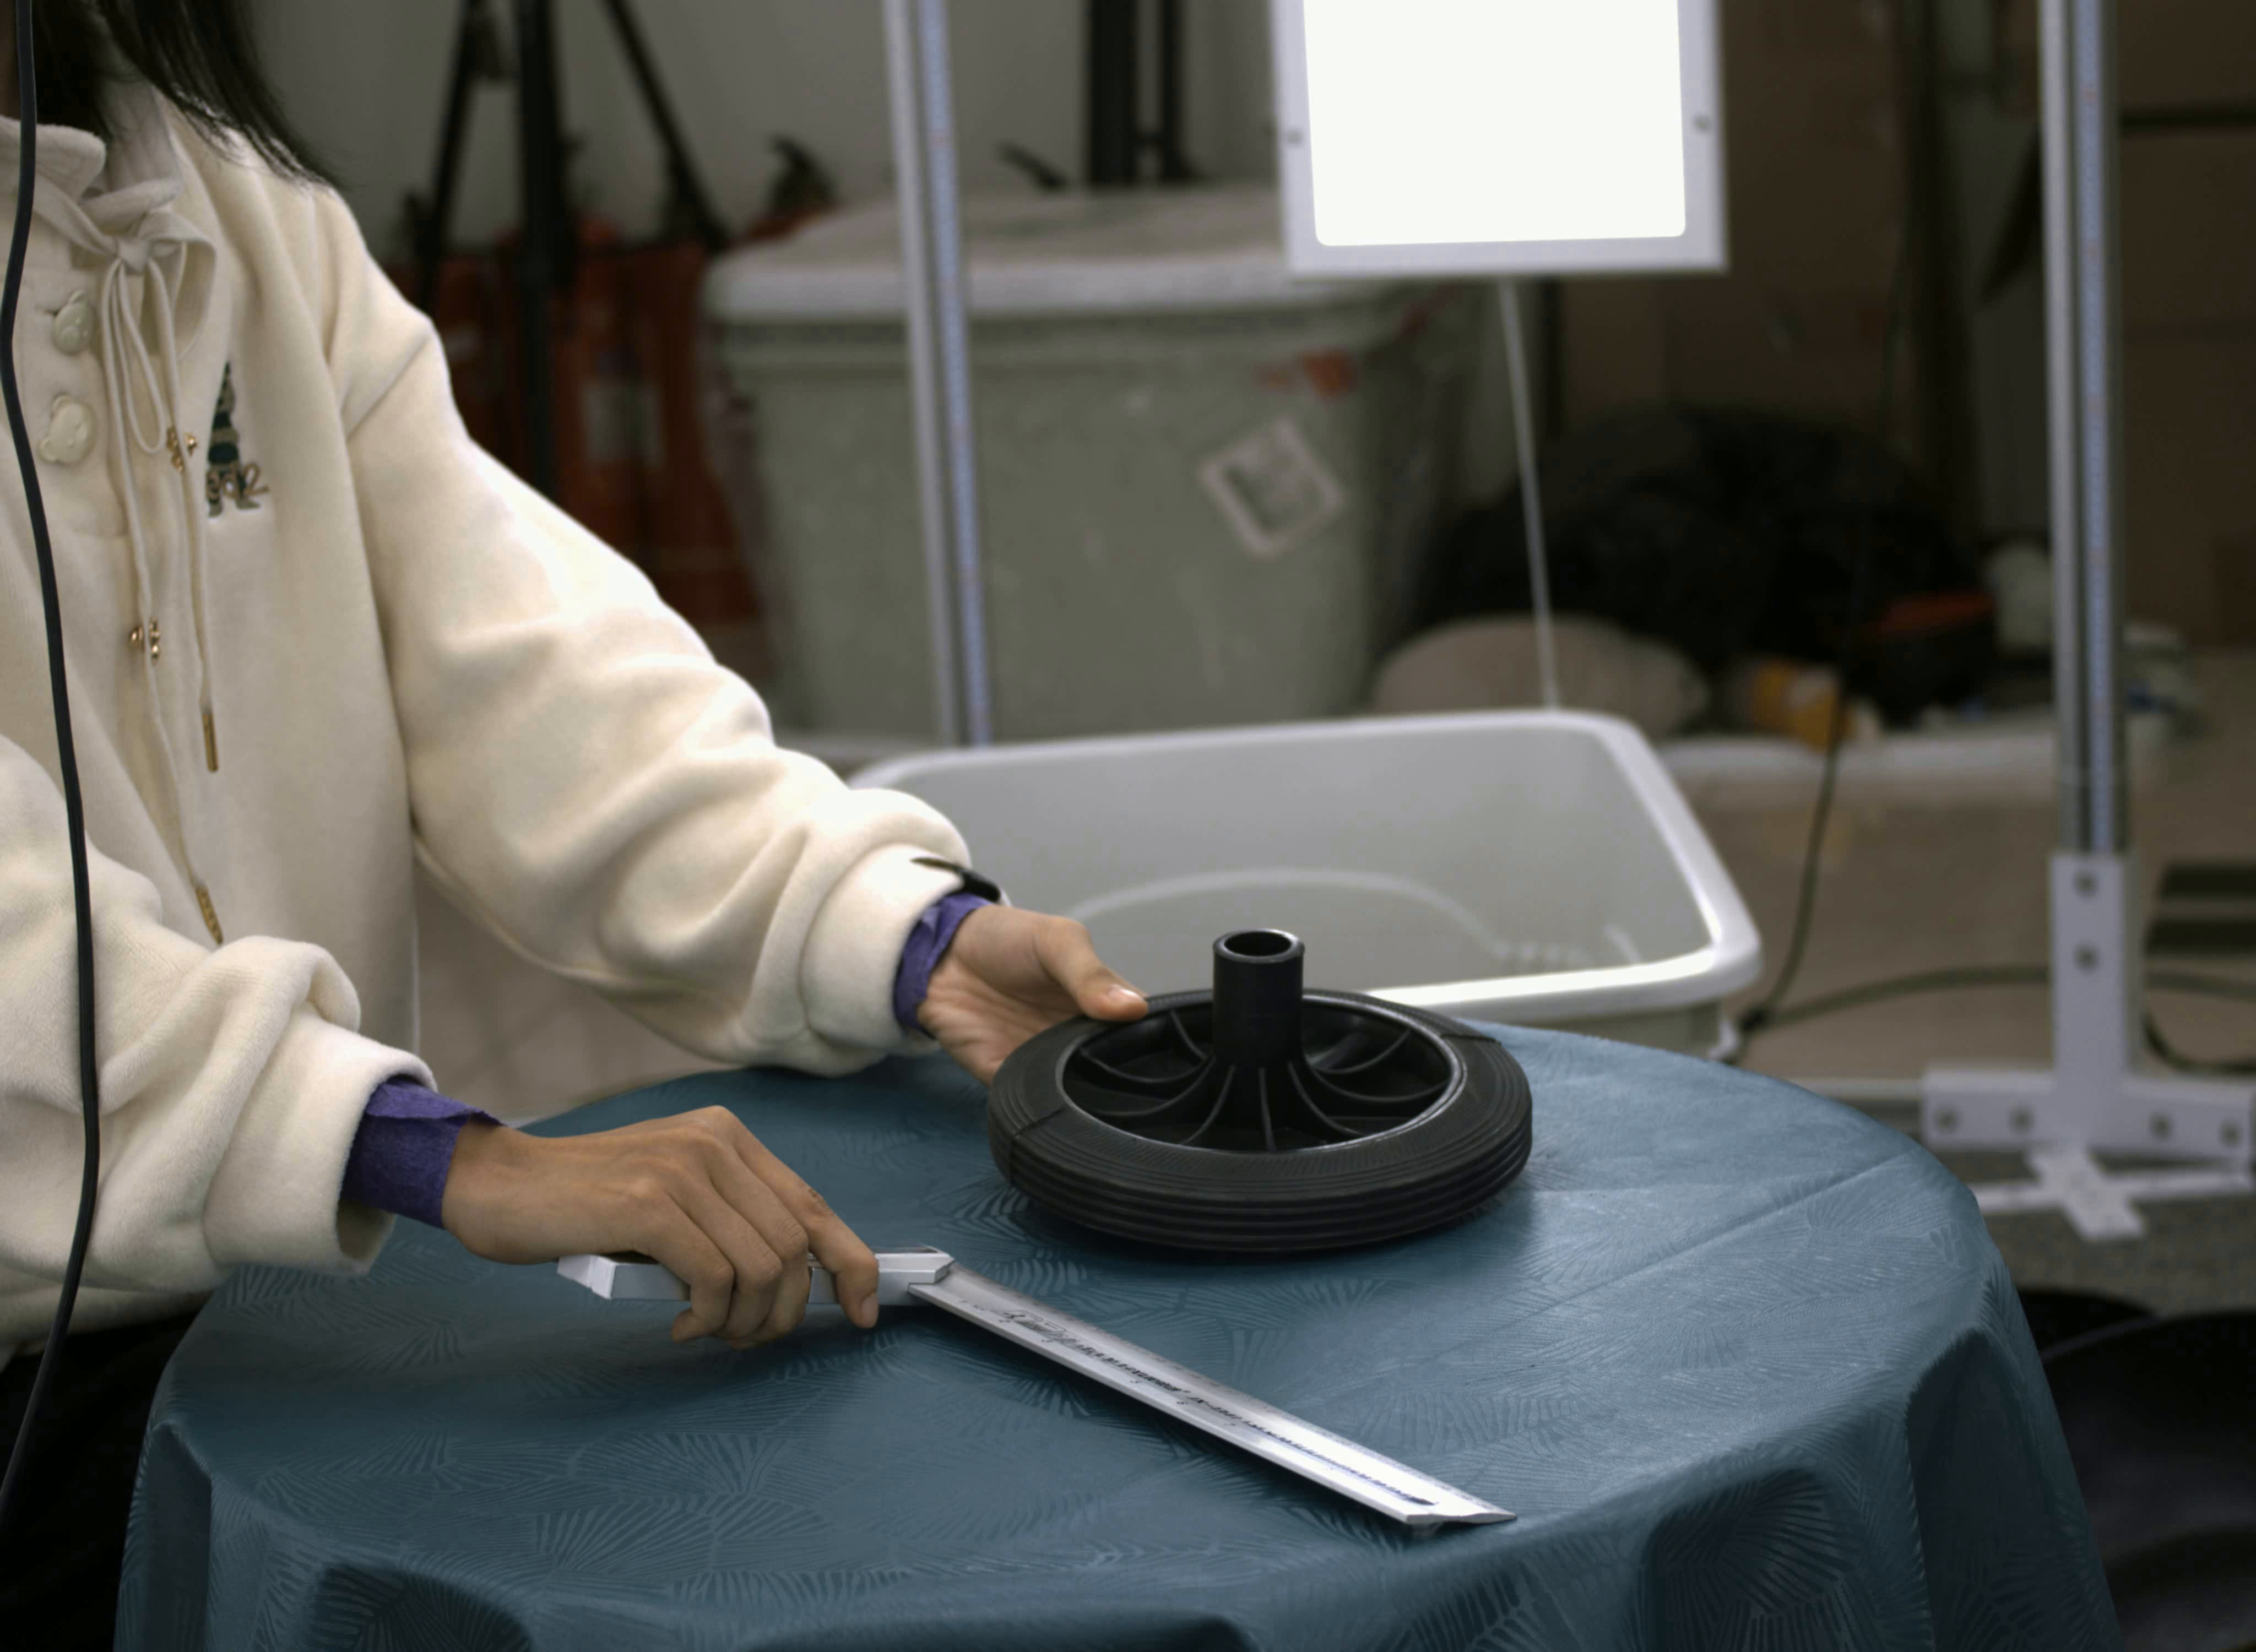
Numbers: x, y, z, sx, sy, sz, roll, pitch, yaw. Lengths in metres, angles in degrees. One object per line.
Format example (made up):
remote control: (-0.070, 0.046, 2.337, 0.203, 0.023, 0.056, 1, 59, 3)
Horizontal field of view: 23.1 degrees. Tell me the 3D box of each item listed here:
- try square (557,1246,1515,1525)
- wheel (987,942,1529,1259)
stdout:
try square: (-0.035, 0.169, 1.663, 0.148, 0.016, 0.319, 1, 9, -33)
wheel: (0.045, 0.081, 1.883, 0.189, 0.079, 0.187, 3, 20, 12)
